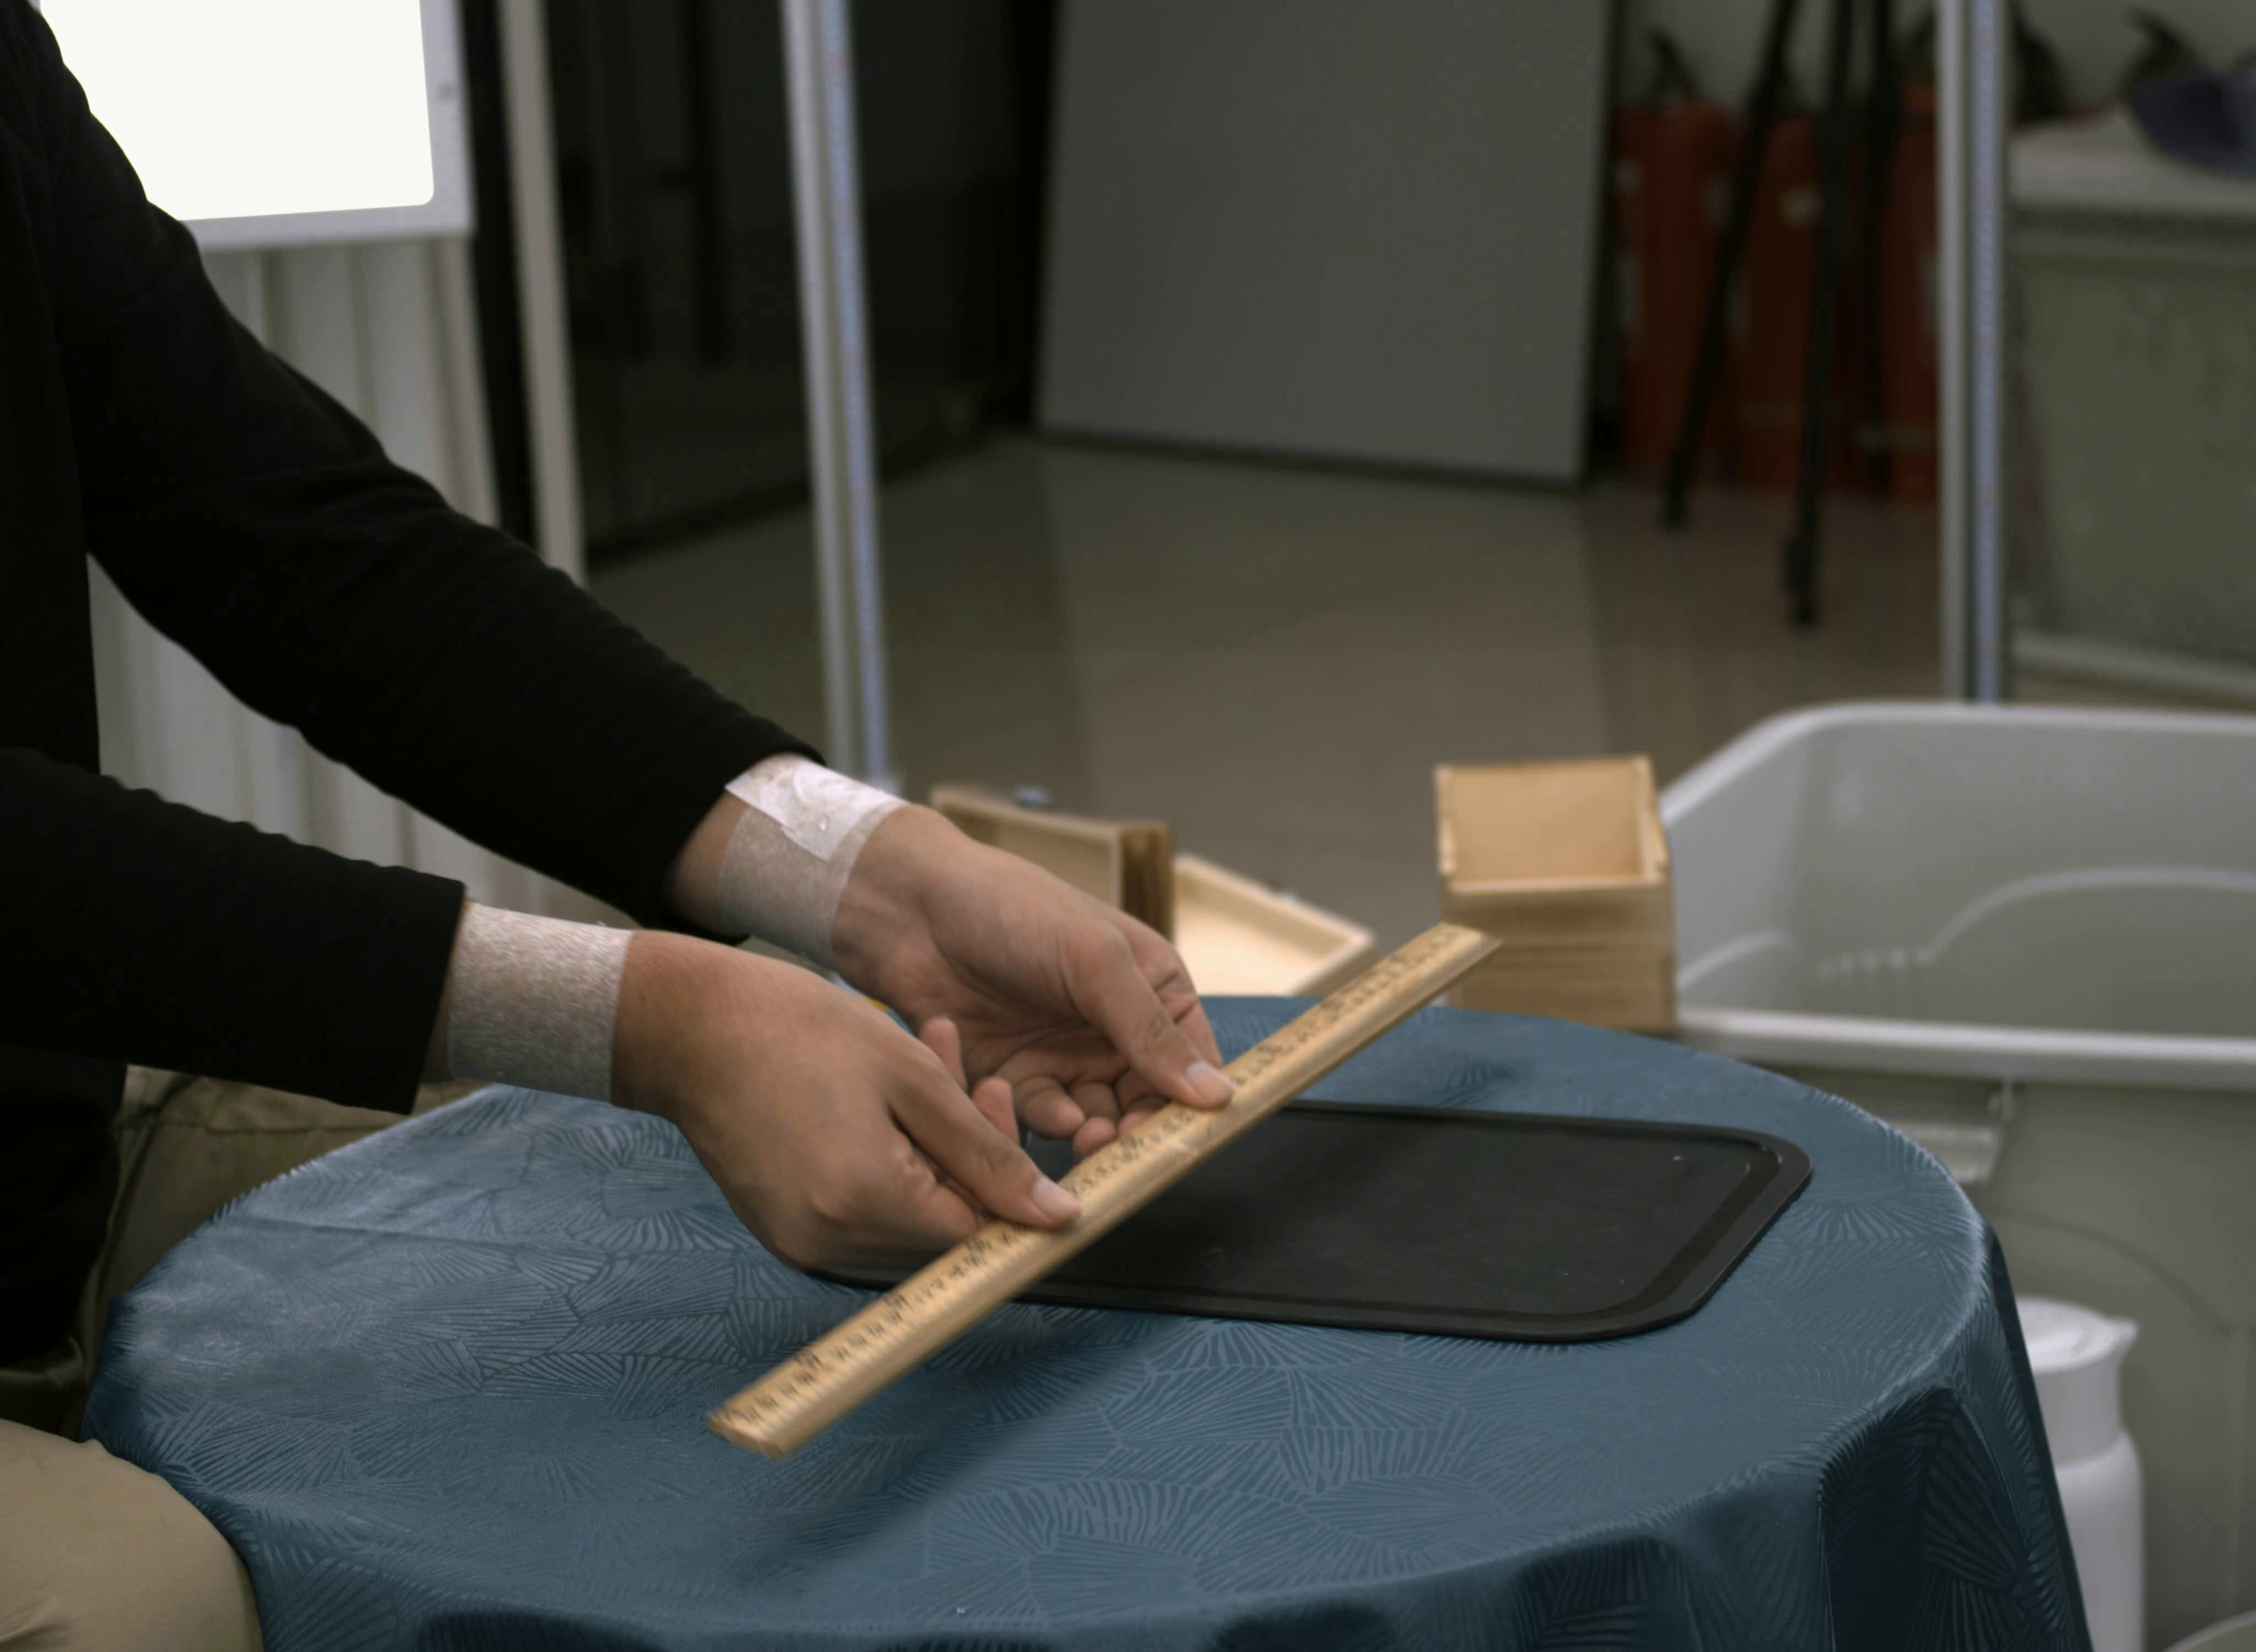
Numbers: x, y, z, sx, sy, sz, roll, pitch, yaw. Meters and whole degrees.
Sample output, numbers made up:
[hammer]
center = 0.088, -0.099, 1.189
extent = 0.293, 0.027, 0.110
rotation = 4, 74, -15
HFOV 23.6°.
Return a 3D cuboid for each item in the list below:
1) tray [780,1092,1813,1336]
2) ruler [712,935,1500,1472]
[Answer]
[tray]
center = 0.048, 0.121, 1.741
extent = 0.326, 0.010, 0.208
rotation = 2, 15, 24
[ruler]
center = 0.007, 0.107, 1.682
extent = 0.027, 0.006, 0.493
rotation = 19, 23, 22
